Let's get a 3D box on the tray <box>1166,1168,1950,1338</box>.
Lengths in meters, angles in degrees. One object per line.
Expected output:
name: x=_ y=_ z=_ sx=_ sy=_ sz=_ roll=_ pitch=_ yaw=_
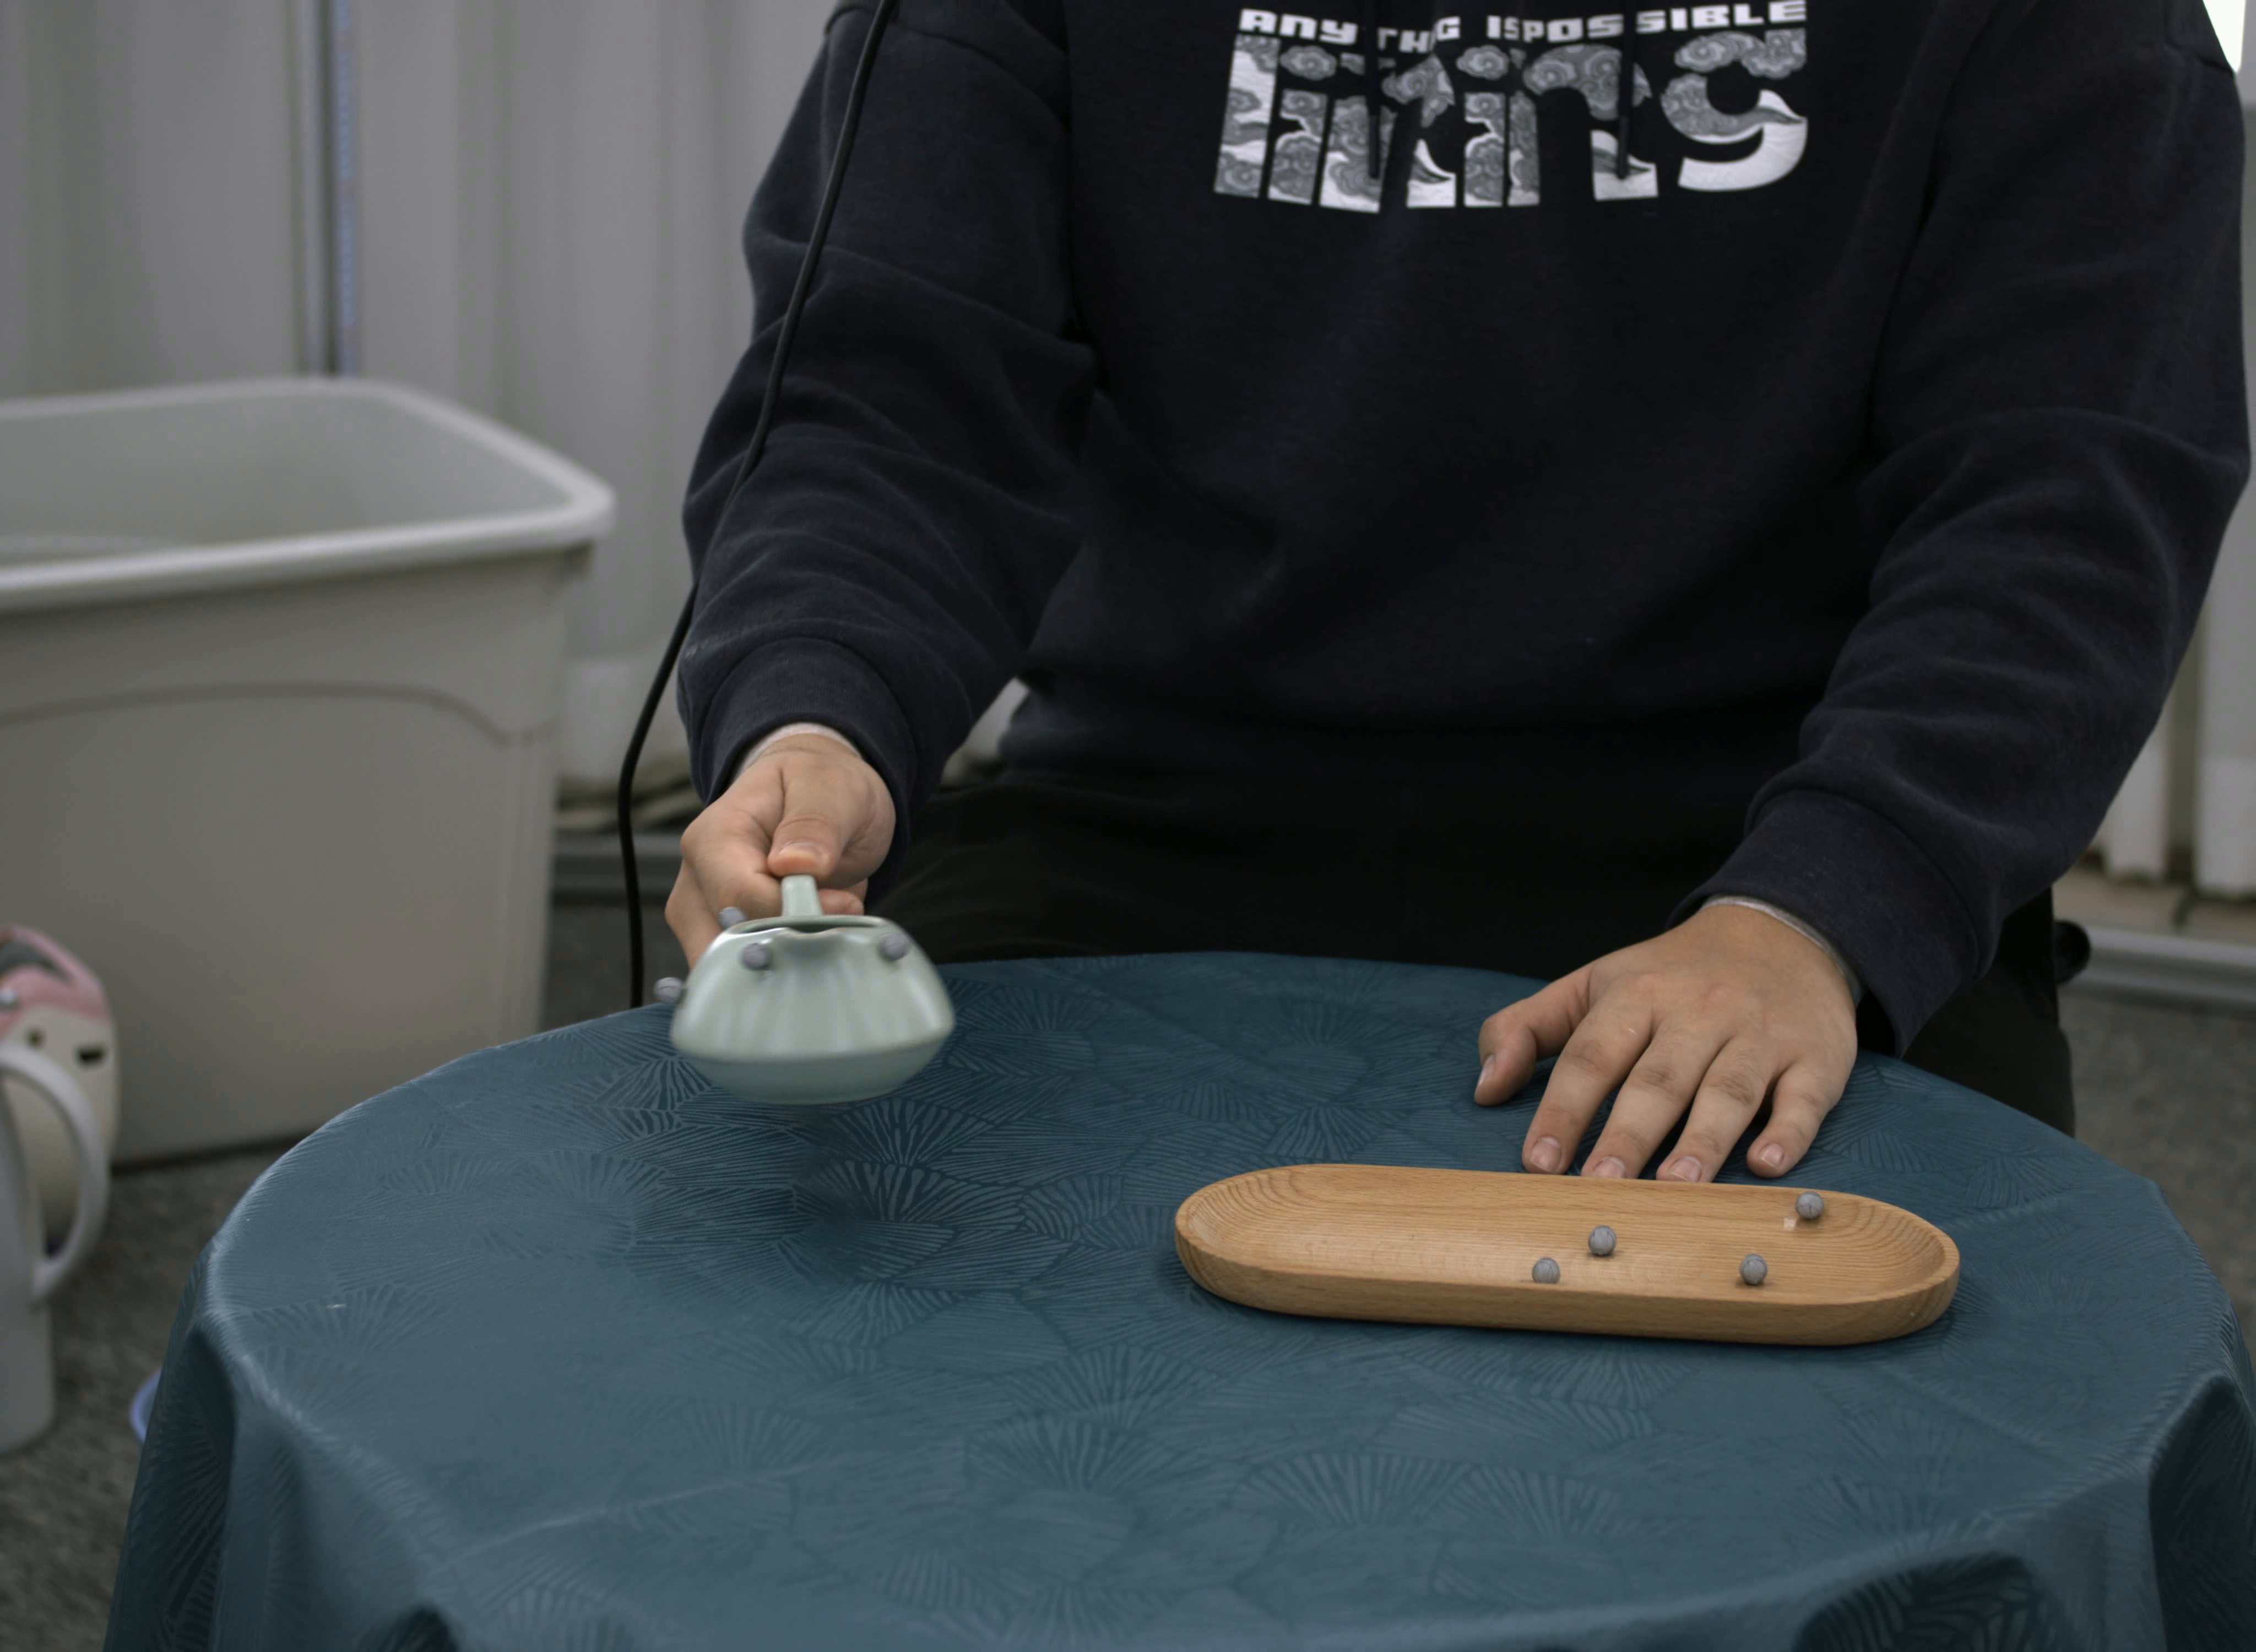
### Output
tray: x=0.126 y=0.126 z=1.555 sx=0.230 sy=0.020 sz=0.101 roll=1 pitch=14 yaw=7

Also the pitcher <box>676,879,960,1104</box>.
pitcher: x=-0.095 y=0.050 z=1.597 sx=0.086 sy=0.061 sz=0.107 roll=-2 pitch=7 yaw=-9
